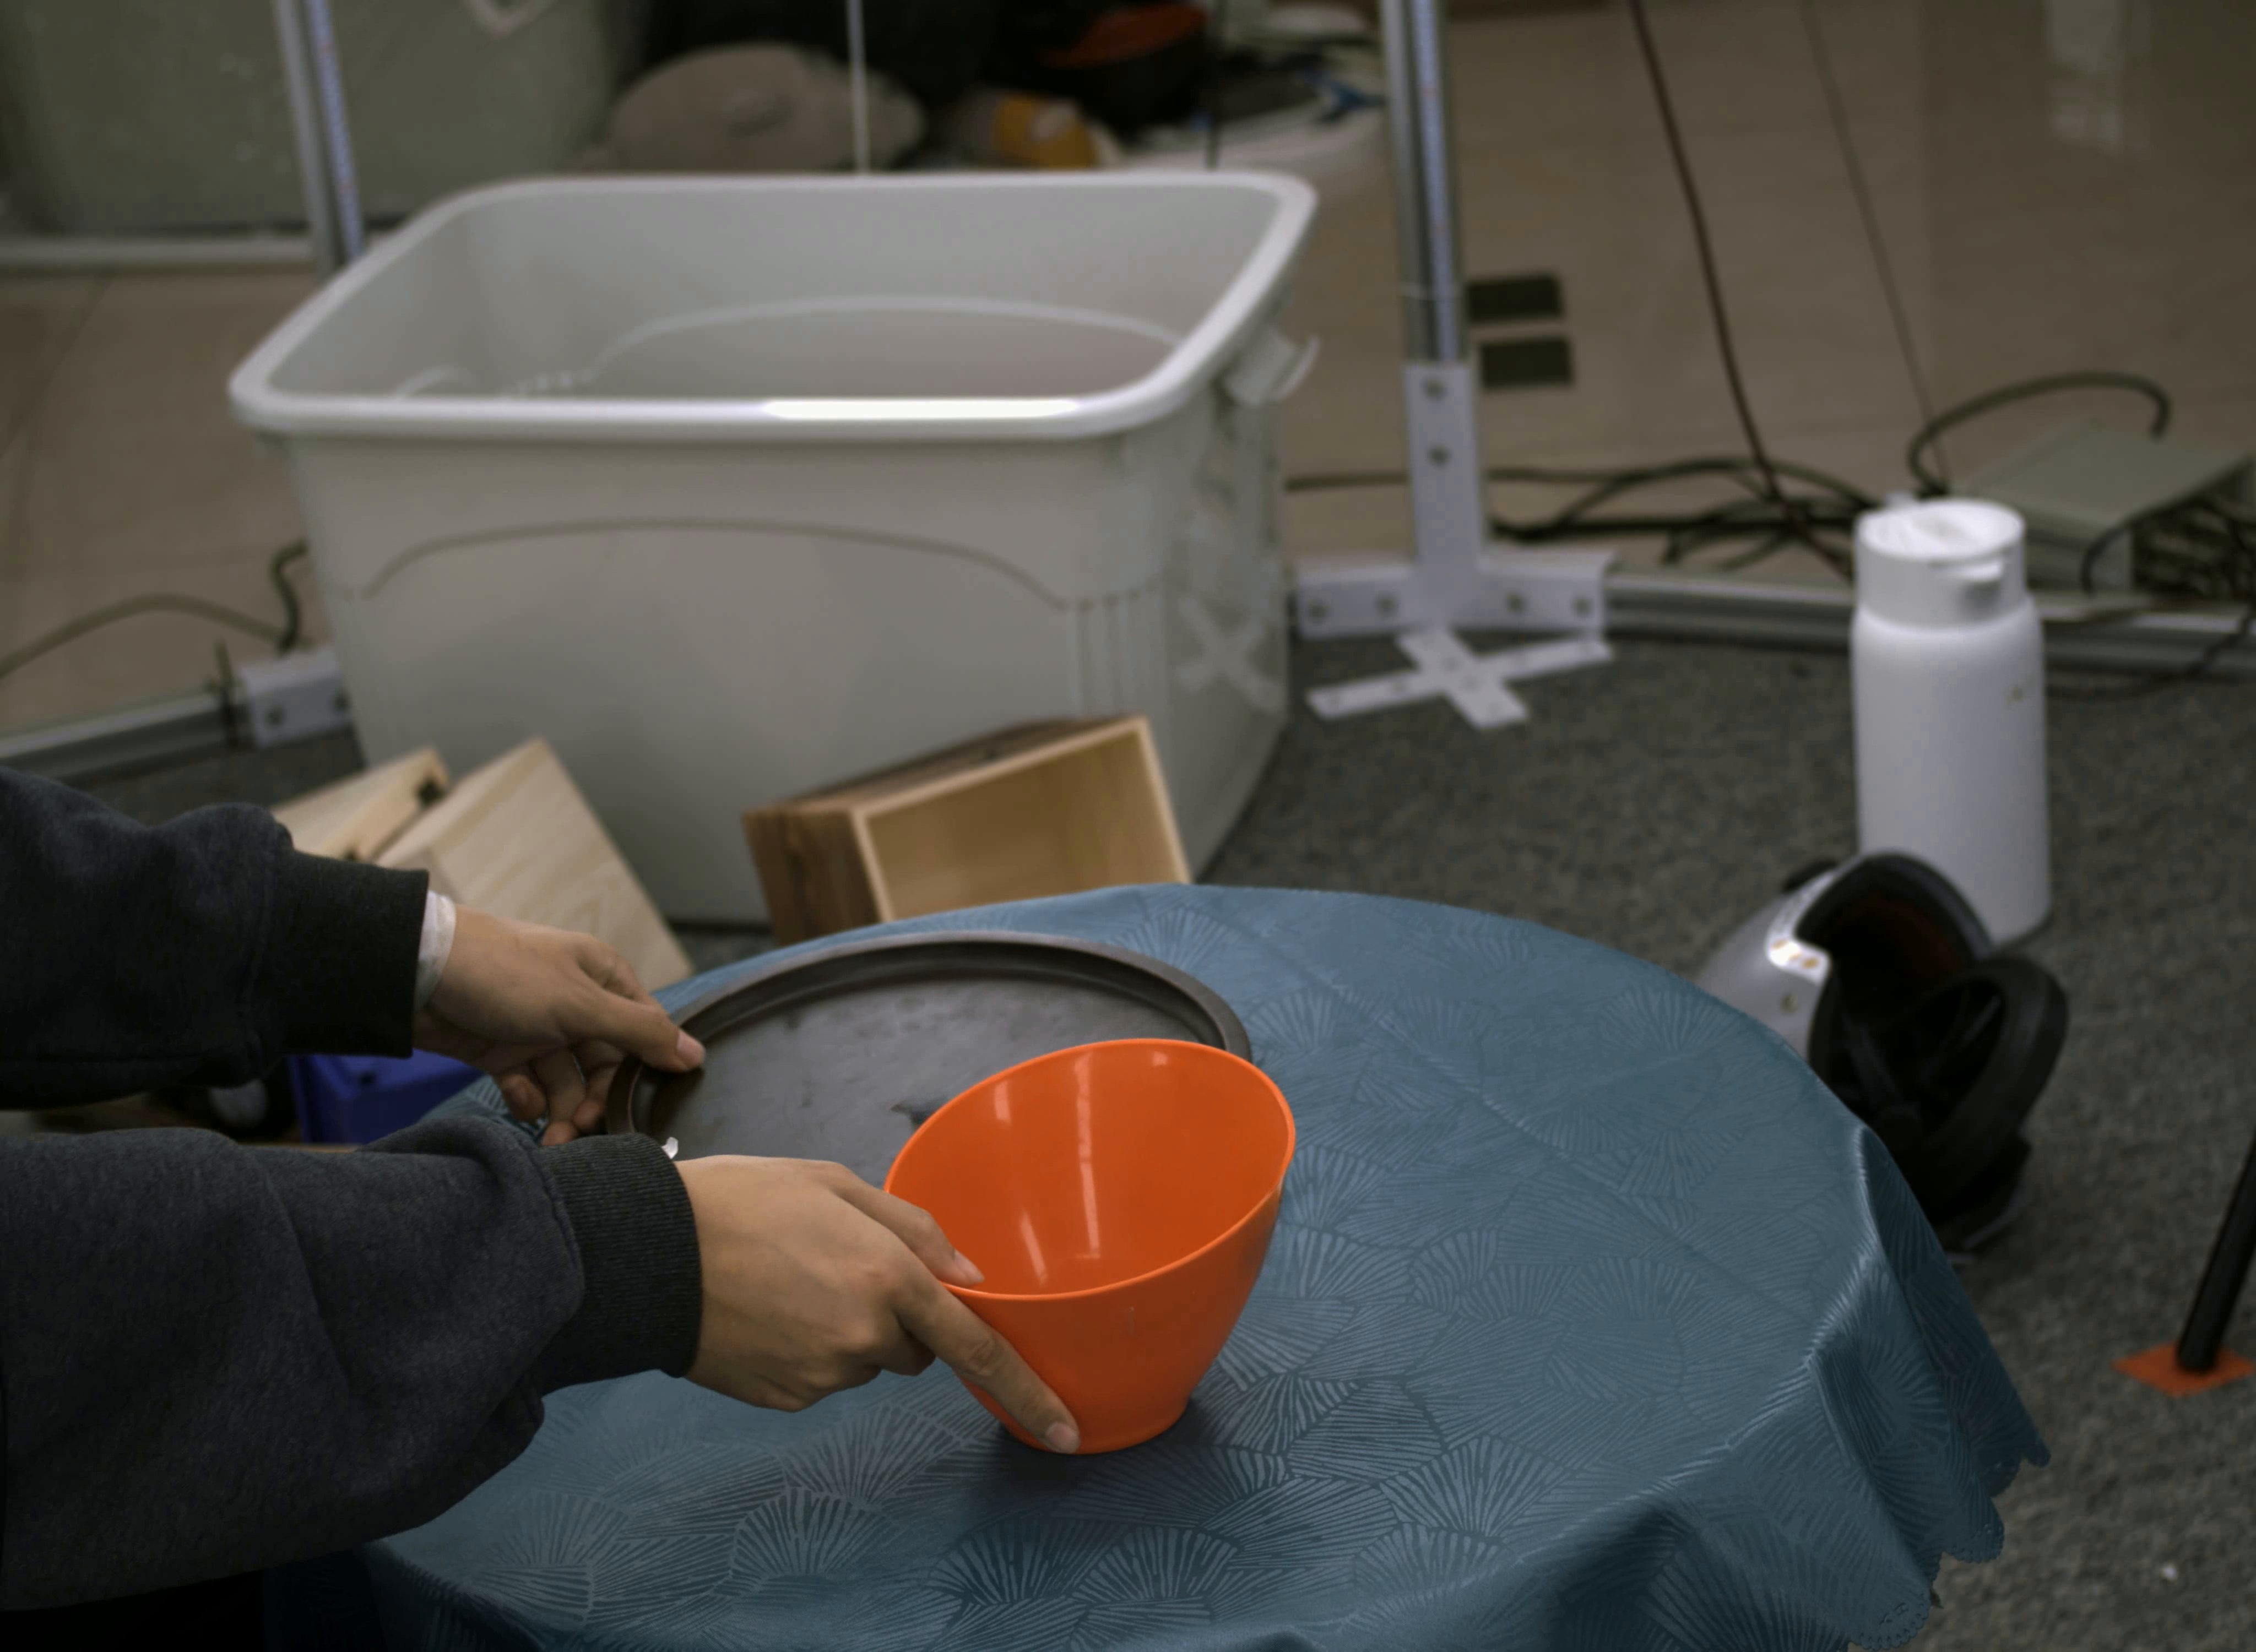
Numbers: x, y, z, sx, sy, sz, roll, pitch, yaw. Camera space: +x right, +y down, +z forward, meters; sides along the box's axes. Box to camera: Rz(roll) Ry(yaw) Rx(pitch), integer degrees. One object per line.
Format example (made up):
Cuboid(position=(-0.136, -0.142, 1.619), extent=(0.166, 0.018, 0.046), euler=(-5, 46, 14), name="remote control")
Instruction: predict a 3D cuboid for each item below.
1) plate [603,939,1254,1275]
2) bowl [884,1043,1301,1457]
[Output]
Cuboid(position=(-0.077, 0.107, 2.200), extent=(0.254, 0.029, 0.251), euler=(-3, 27, 2), name="plate")
Cuboid(position=(-0.009, 0.155, 1.992), extent=(0.148, 0.106, 0.146), euler=(-5, 26, 2), name="bowl")
